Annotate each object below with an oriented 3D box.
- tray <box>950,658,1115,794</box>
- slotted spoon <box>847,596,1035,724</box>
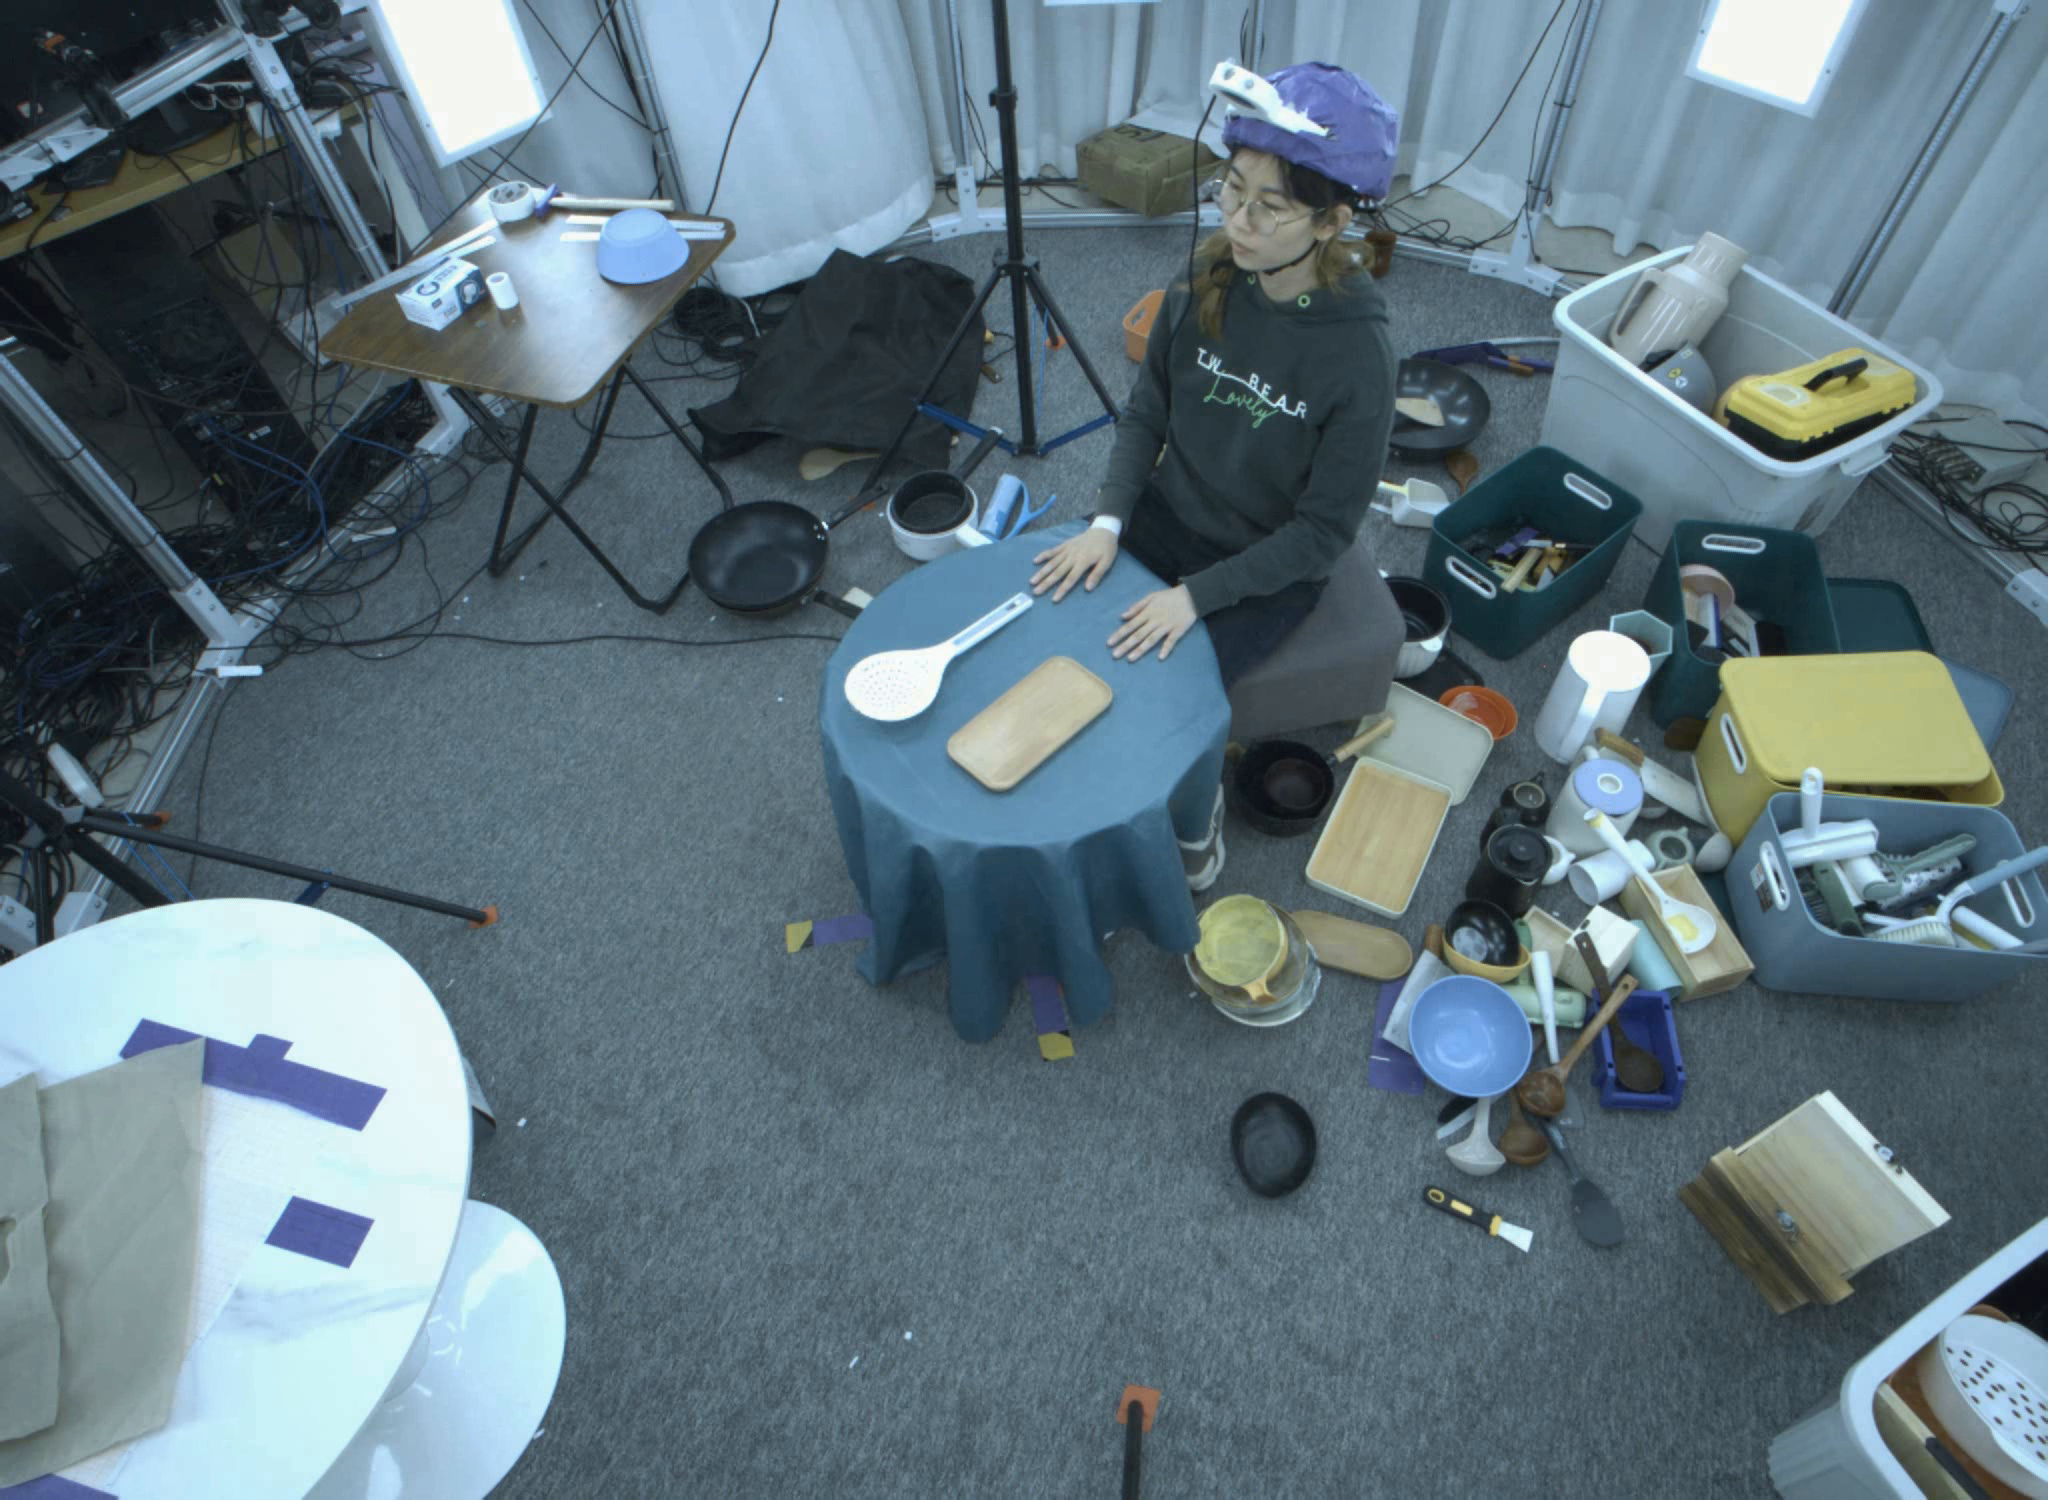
[{"bbox_3d":[0.014,-0.037,1.813,0.252,0.023,0.128,-39,64,-24],"label":"tray"},{"bbox_3d":[-0.118,-0.145,1.875,0.352,0.046,0.134,-39,65,-23],"label":"slotted spoon"}]
